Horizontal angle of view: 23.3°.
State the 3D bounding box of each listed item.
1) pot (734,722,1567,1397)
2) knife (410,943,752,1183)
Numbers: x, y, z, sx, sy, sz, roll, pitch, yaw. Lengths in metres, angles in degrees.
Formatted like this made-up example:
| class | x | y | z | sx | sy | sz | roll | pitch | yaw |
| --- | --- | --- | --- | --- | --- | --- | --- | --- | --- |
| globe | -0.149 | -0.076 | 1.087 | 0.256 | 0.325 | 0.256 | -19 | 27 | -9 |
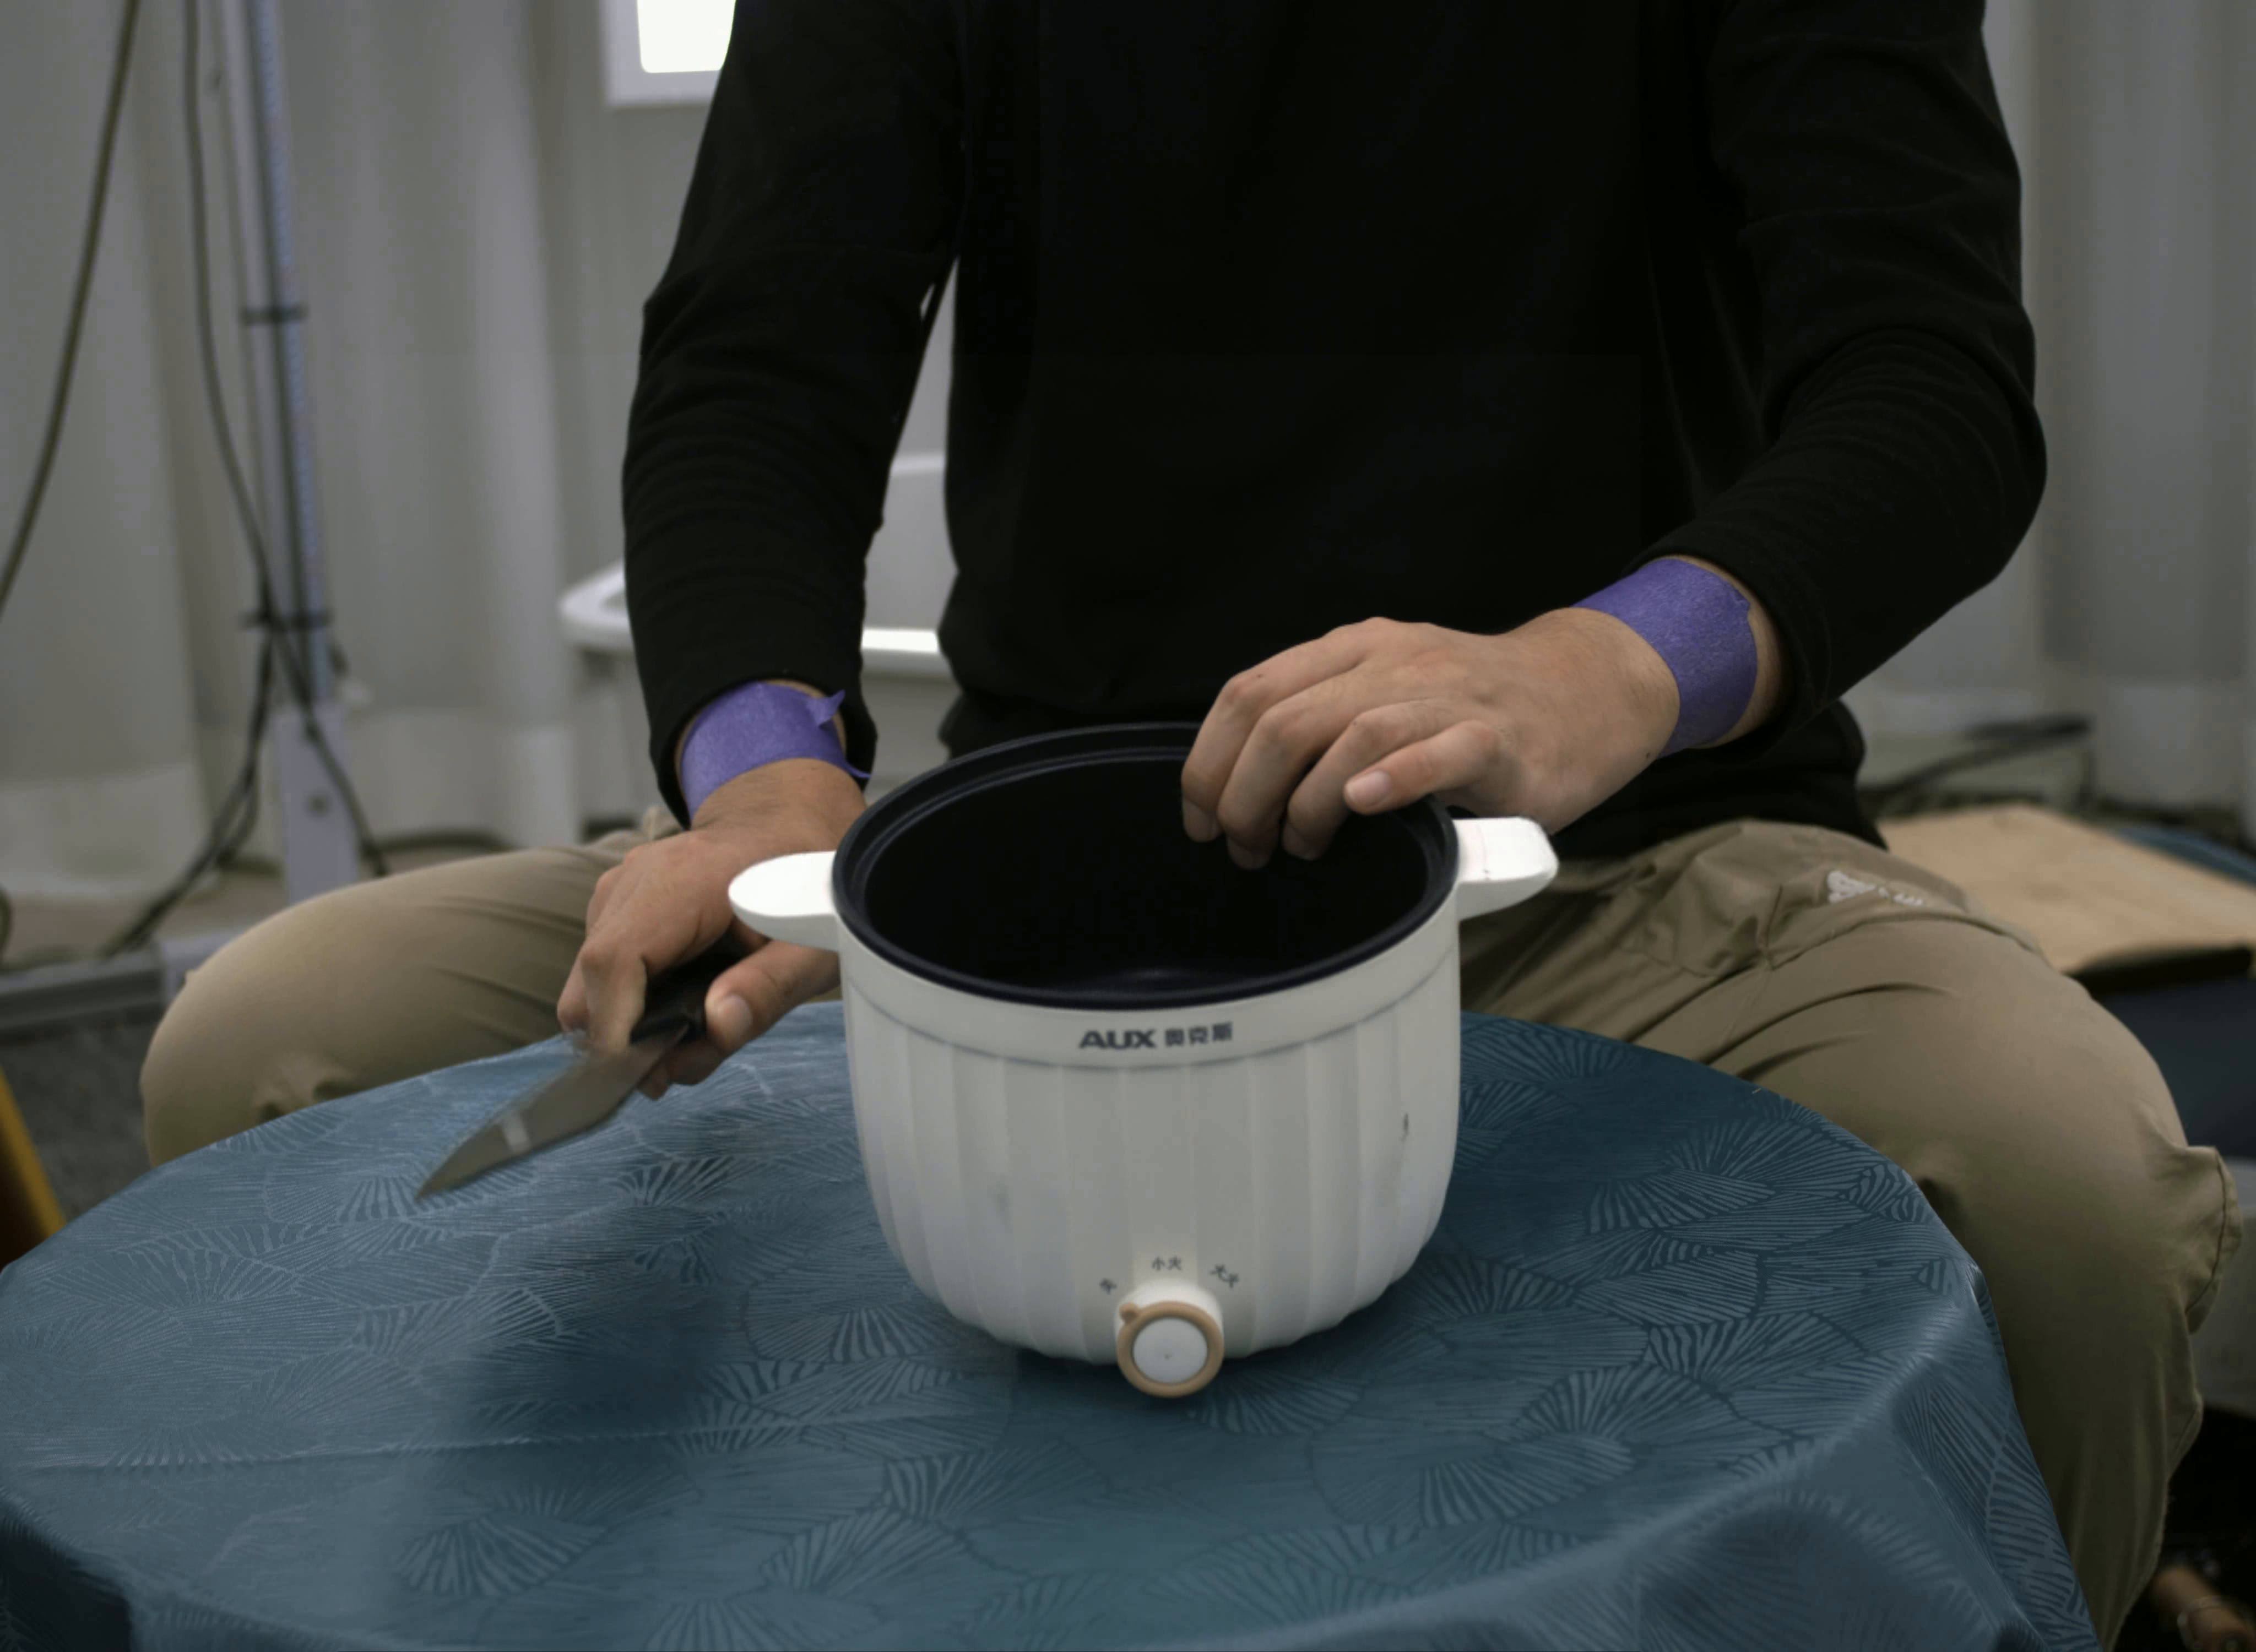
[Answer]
| class | x | y | z | sx | sy | sz | roll | pitch | yaw |
| --- | --- | --- | --- | --- | --- | --- | --- | --- | --- |
| pot | 0.010 | 0.070 | 1.589 | 0.239 | 0.141 | 0.192 | -4 | 22 | 0 |
| knife | -0.160 | 0.071 | 1.665 | 0.080 | 0.021 | 0.303 | -22 | 4 | 11 |
